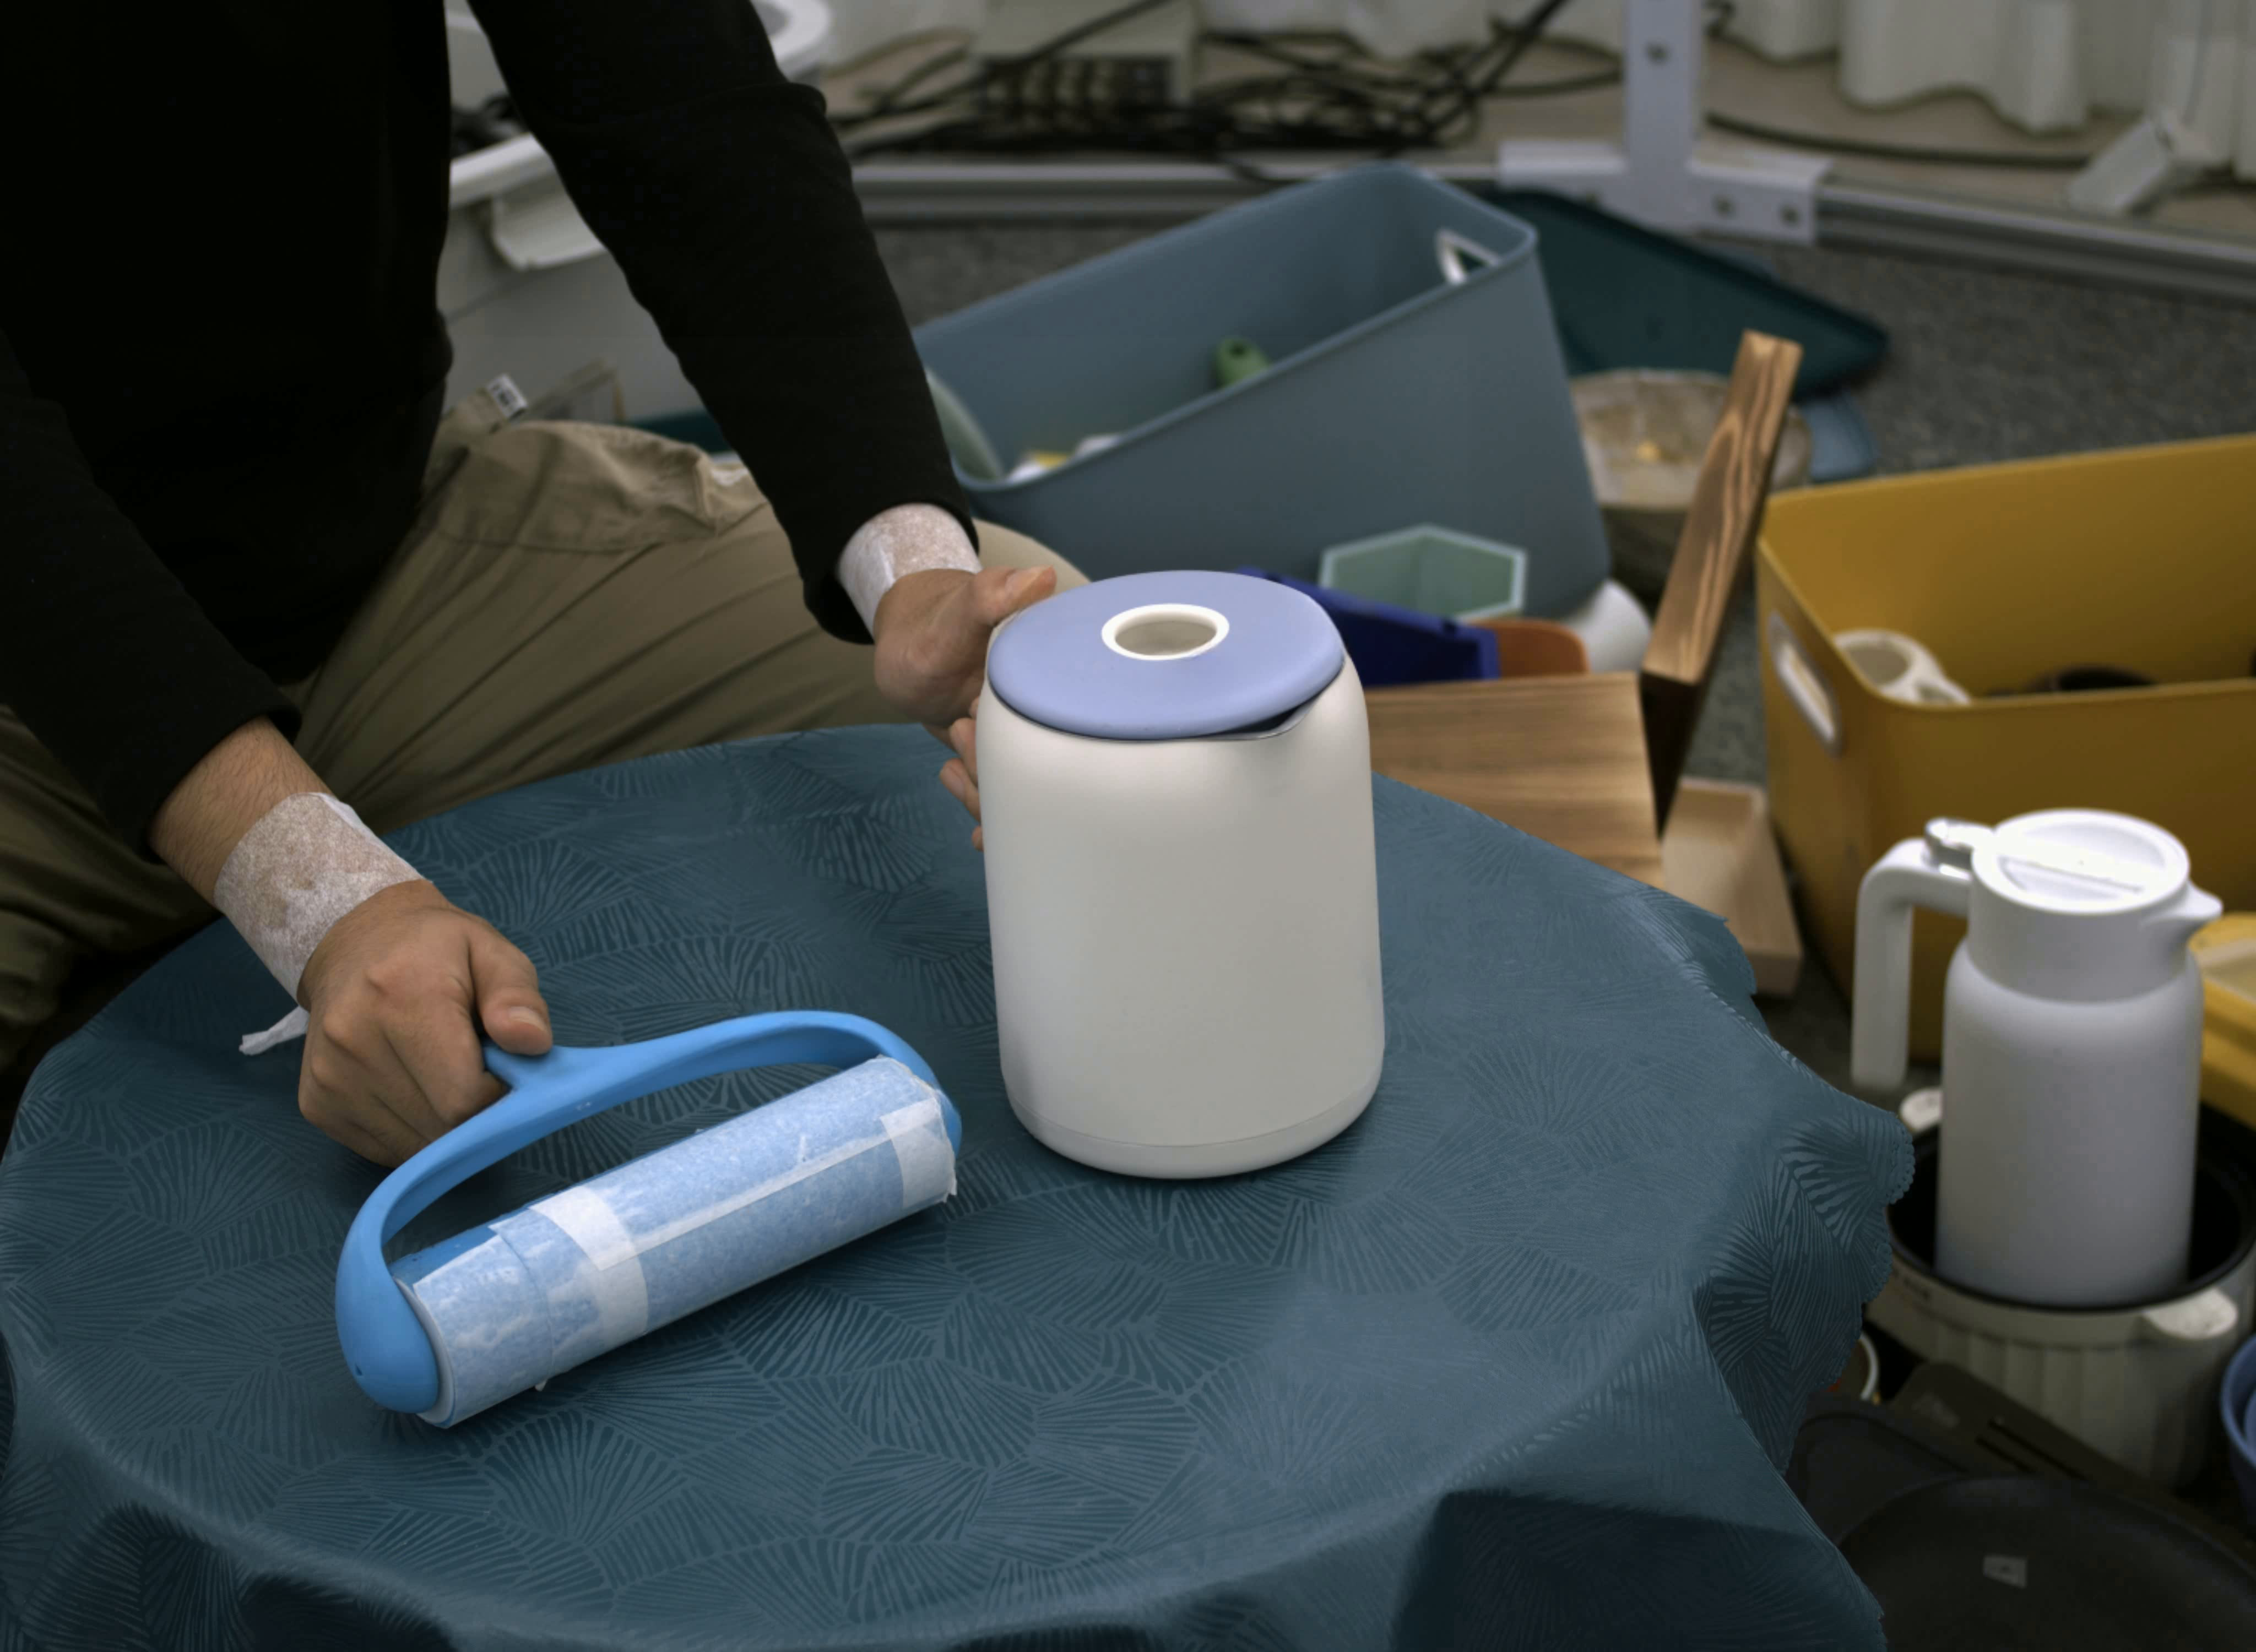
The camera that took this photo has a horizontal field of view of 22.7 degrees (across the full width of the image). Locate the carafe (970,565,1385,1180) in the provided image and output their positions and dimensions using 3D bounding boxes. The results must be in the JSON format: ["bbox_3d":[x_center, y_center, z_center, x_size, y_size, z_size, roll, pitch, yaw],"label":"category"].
[{"bbox_3d":[0.004,0.007,1.897,0.133,0.181,0.191,-18,27,-29],"label":"carafe"}]

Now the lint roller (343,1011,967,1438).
[{"bbox_3d":[-0.186,0.104,1.837,0.231,0.067,0.181,-26,46,-32],"label":"lint roller"}]
